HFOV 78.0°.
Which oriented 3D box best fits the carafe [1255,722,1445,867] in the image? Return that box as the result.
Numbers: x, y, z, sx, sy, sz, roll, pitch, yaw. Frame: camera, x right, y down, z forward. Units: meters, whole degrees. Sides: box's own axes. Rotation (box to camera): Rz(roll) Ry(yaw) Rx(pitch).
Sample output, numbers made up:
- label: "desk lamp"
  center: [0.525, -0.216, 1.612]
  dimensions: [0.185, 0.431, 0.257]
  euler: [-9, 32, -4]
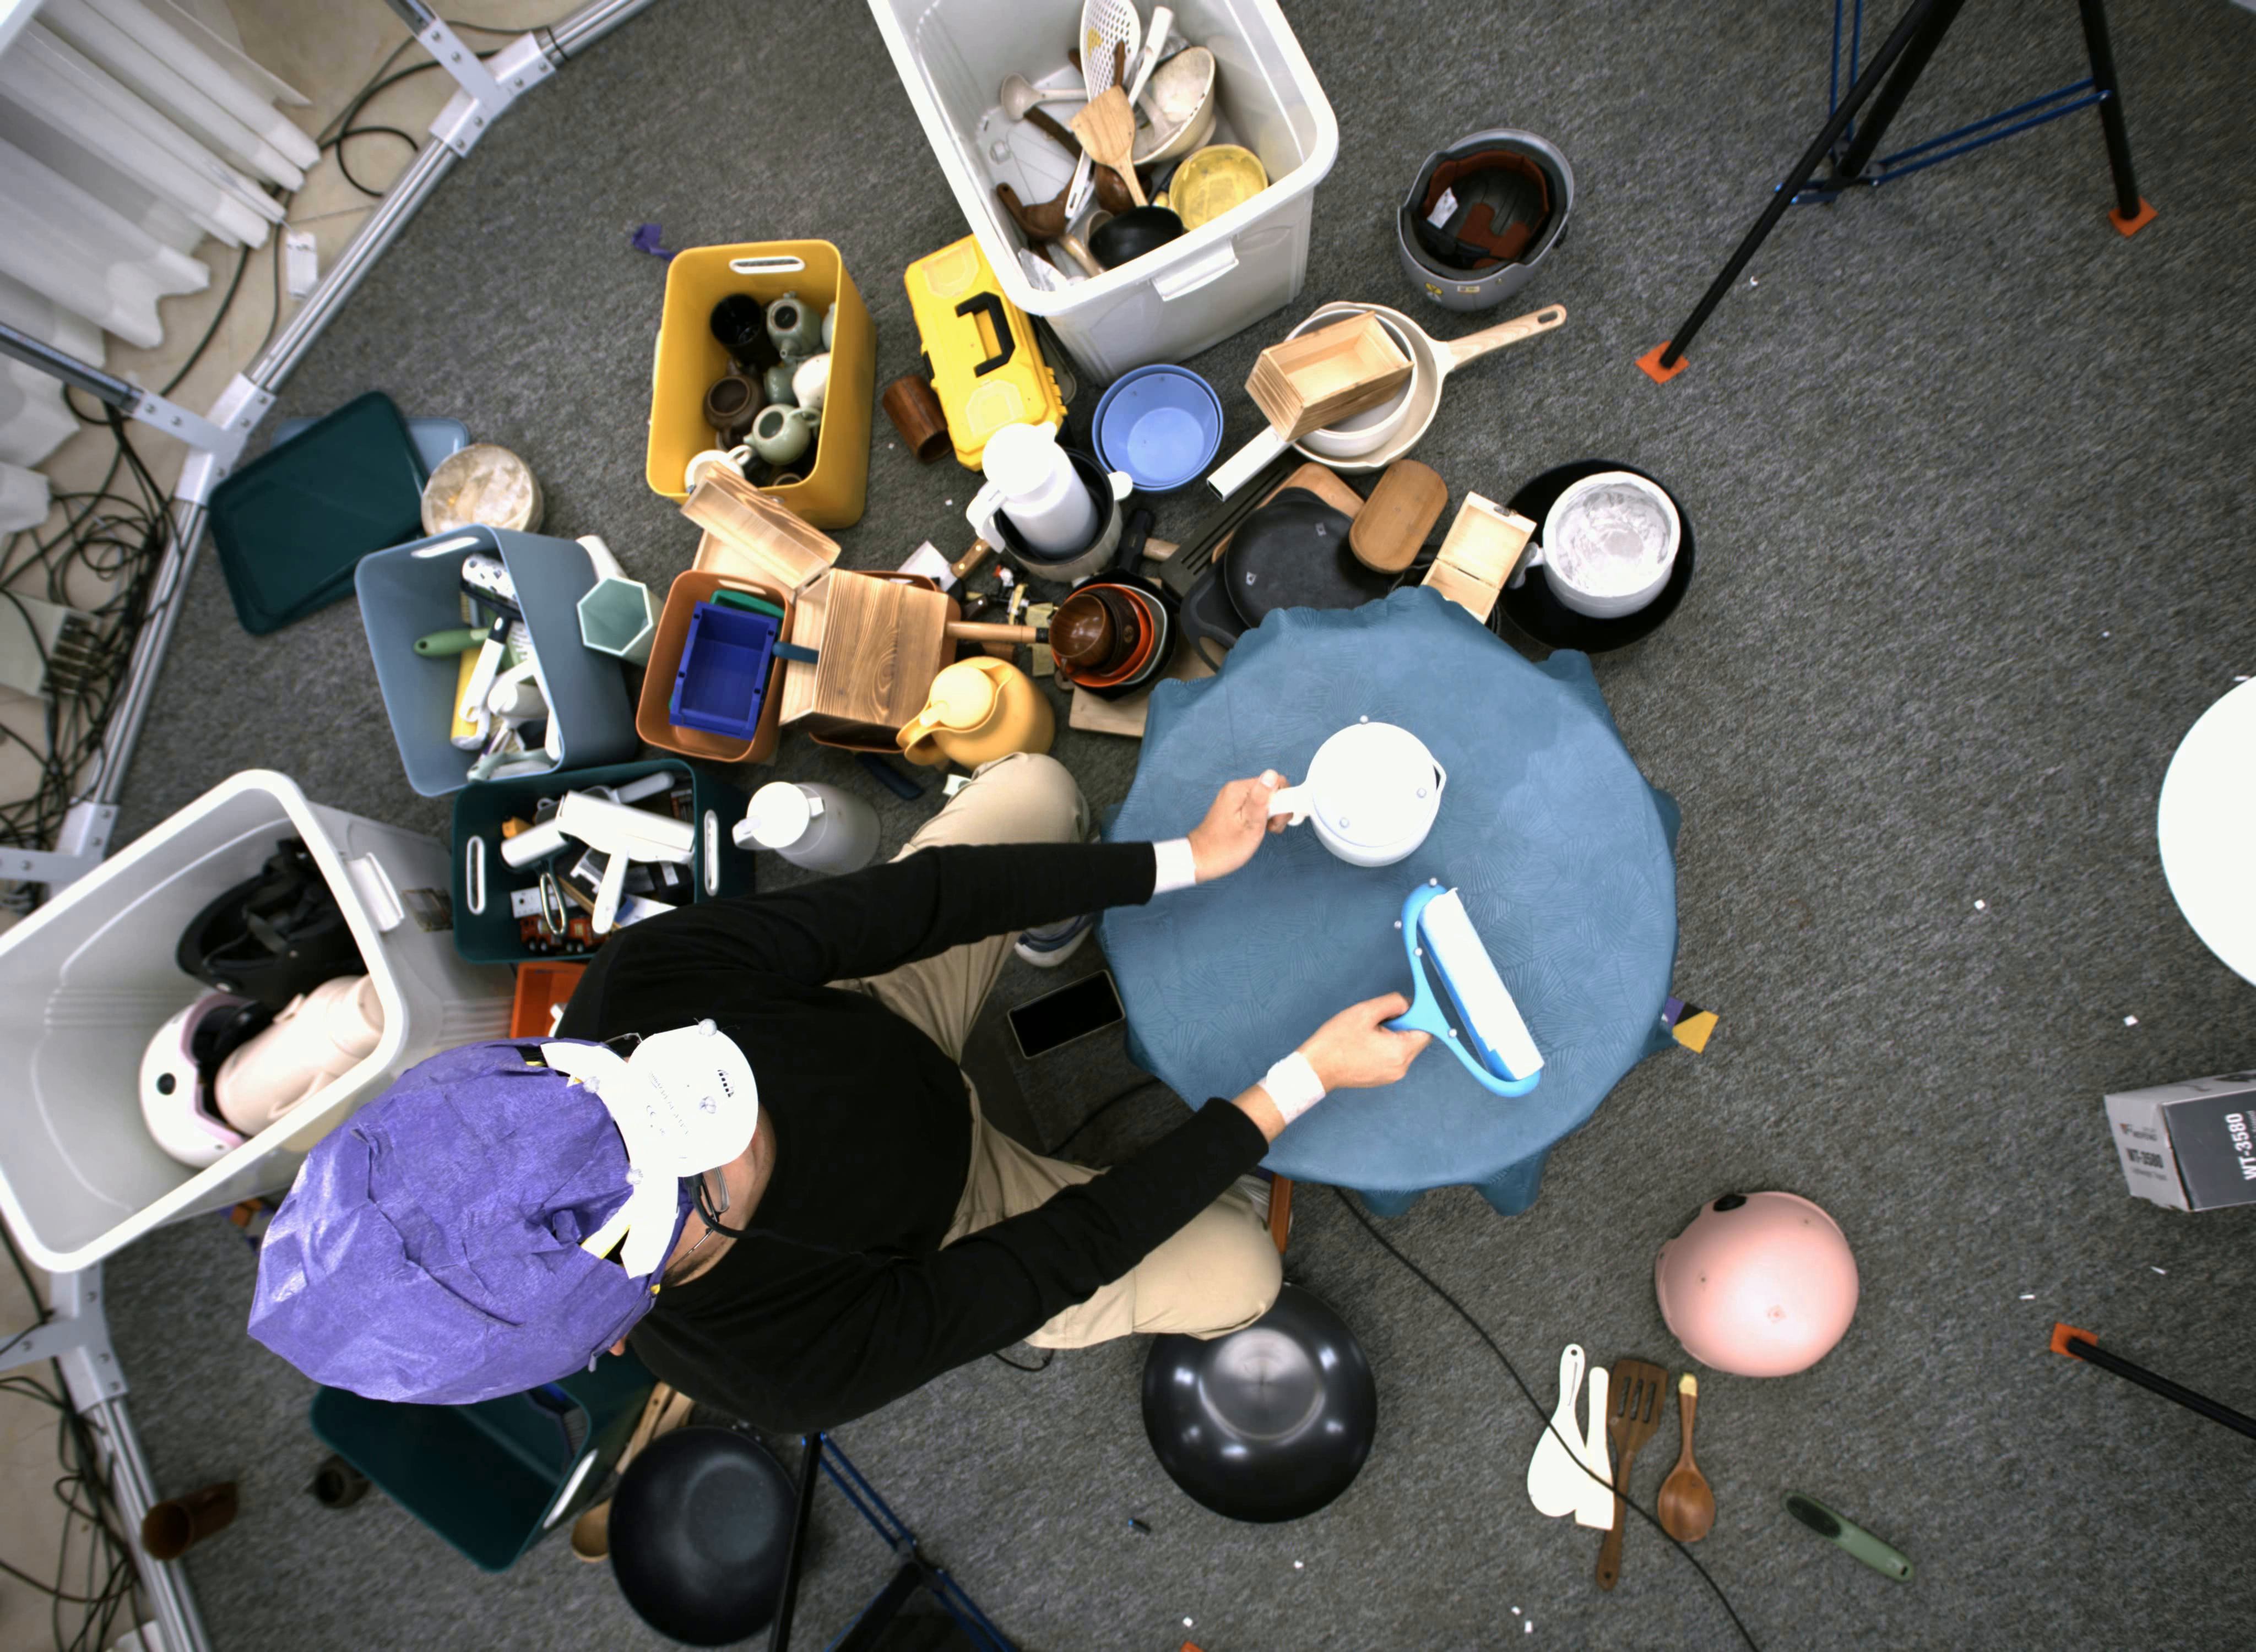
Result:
- label: "carafe"
  center: [0.221, -0.027, 1.388]
  dimensions: [0.192, 0.183, 0.131]
  euler: [-9, 83, 11]

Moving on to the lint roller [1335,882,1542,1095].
- label: "lint roller"
  center: [0.293, 0.187, 1.375]
  dimensions: [0.180, 0.068, 0.228]
  euler: [-28, 86, -3]
